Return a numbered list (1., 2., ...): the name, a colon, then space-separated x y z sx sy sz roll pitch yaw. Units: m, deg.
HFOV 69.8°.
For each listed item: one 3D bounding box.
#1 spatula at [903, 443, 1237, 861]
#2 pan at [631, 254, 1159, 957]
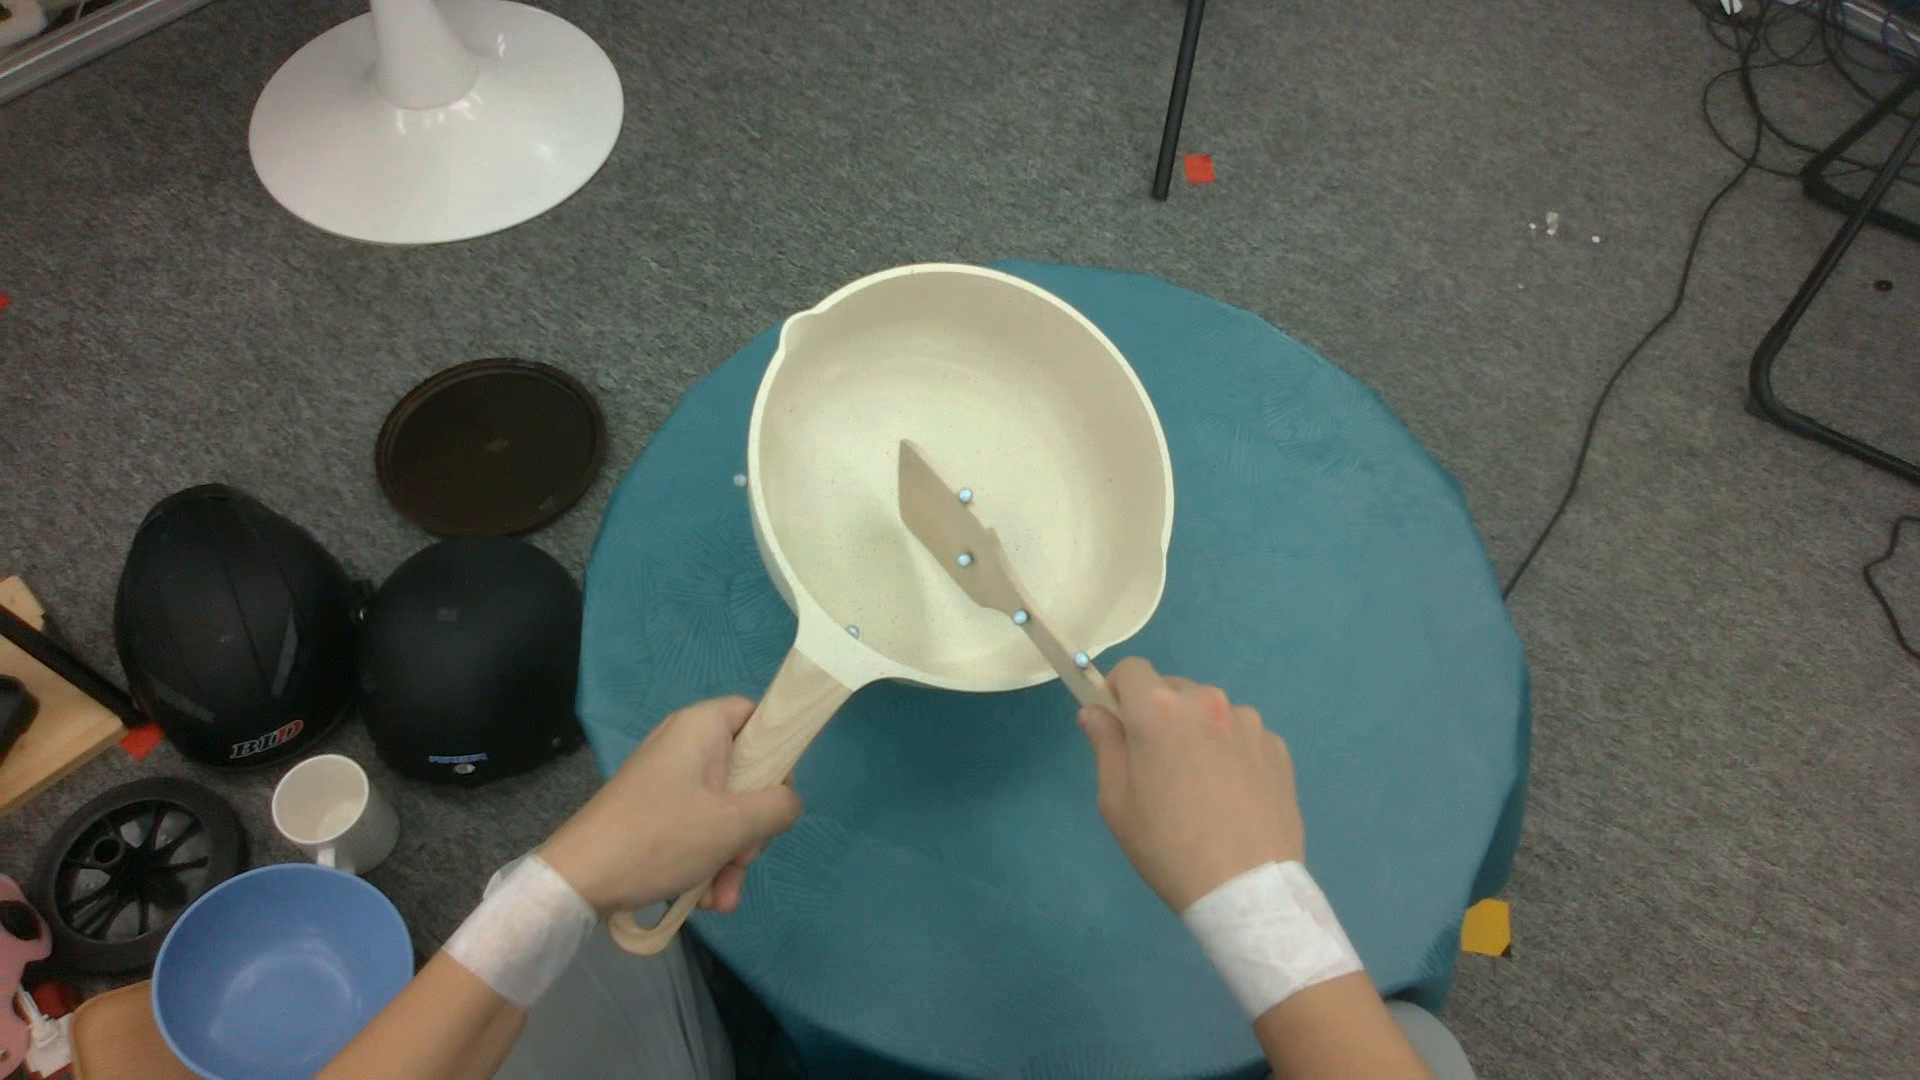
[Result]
1. spatula: 0.050 0.055 0.731 0.011 0.072 0.293 -25 53 -23
2. pan: -0.056 0.033 0.773 0.263 0.101 0.436 36 67 -8
